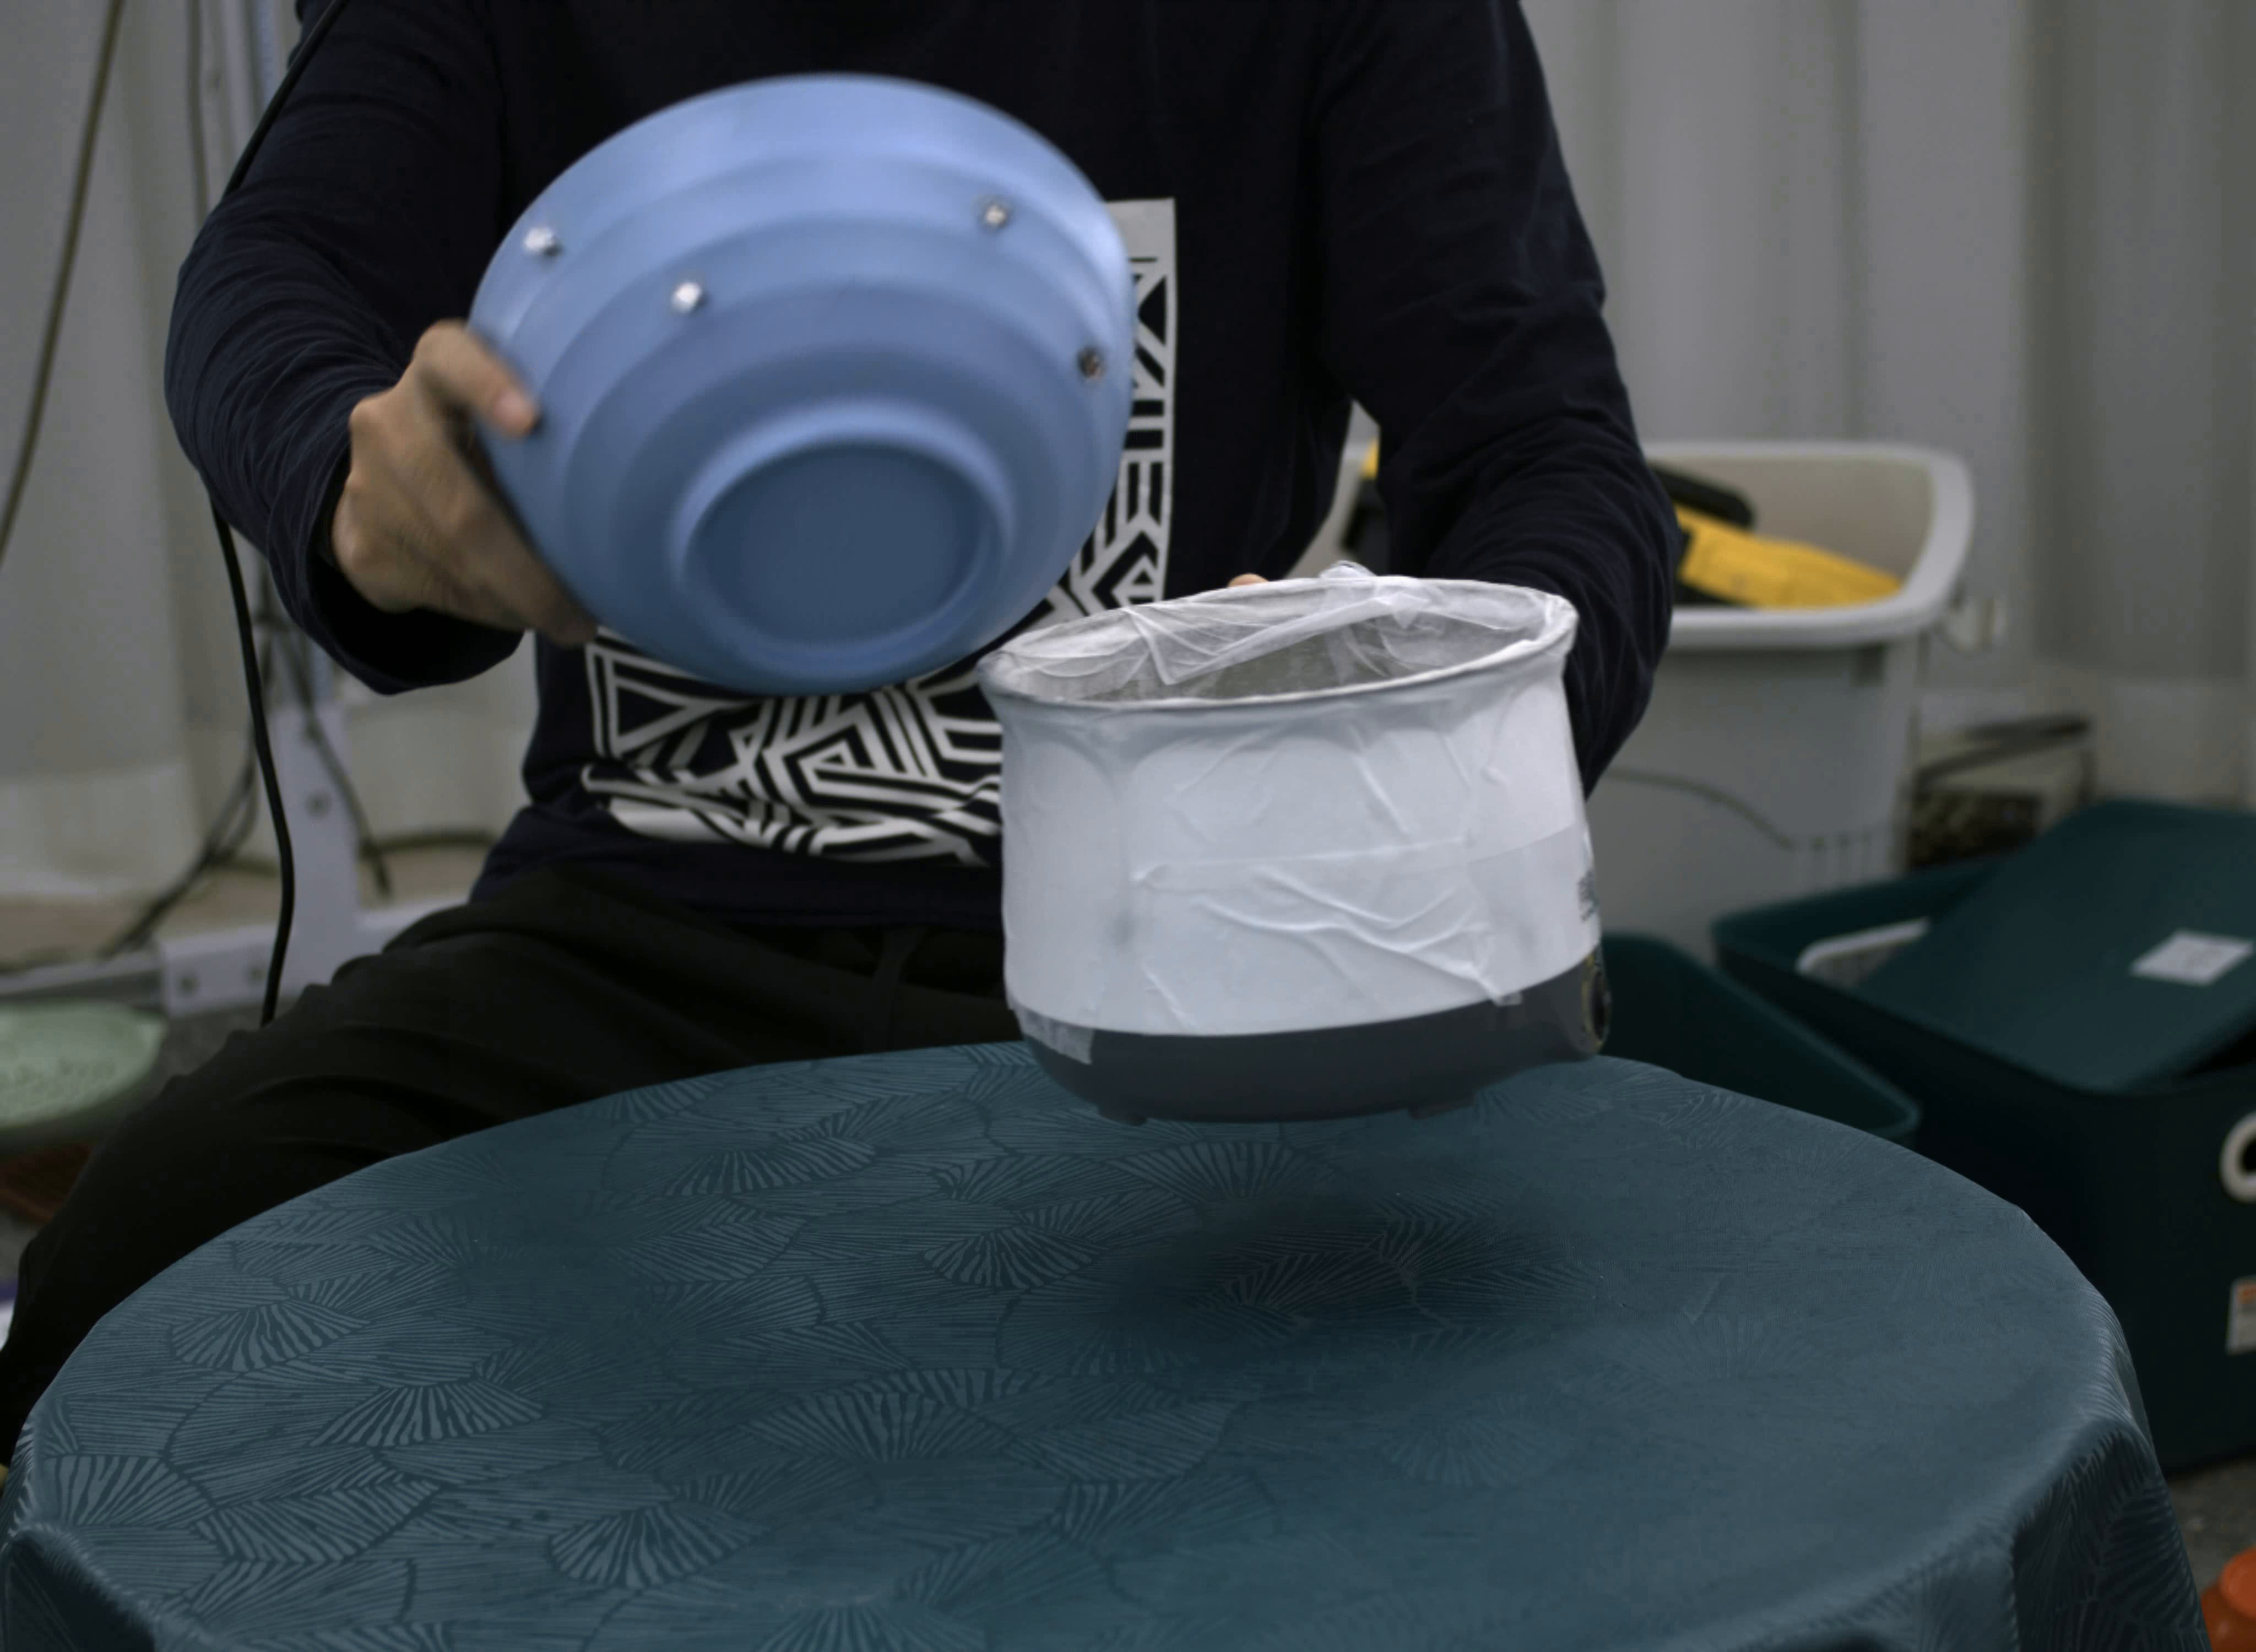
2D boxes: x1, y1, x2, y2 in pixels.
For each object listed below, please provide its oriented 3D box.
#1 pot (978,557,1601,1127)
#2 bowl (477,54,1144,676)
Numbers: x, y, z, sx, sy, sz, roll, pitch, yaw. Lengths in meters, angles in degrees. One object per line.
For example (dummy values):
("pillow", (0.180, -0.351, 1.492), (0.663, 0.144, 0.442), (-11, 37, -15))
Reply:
("pot", (0.054, 0.000, 1.640), (0.178, 0.136, 0.234), (-1, 13, 13))
("bowl", (-0.083, -0.112, 1.559), (0.195, 0.194, 0.097), (-5, 44, -10))
